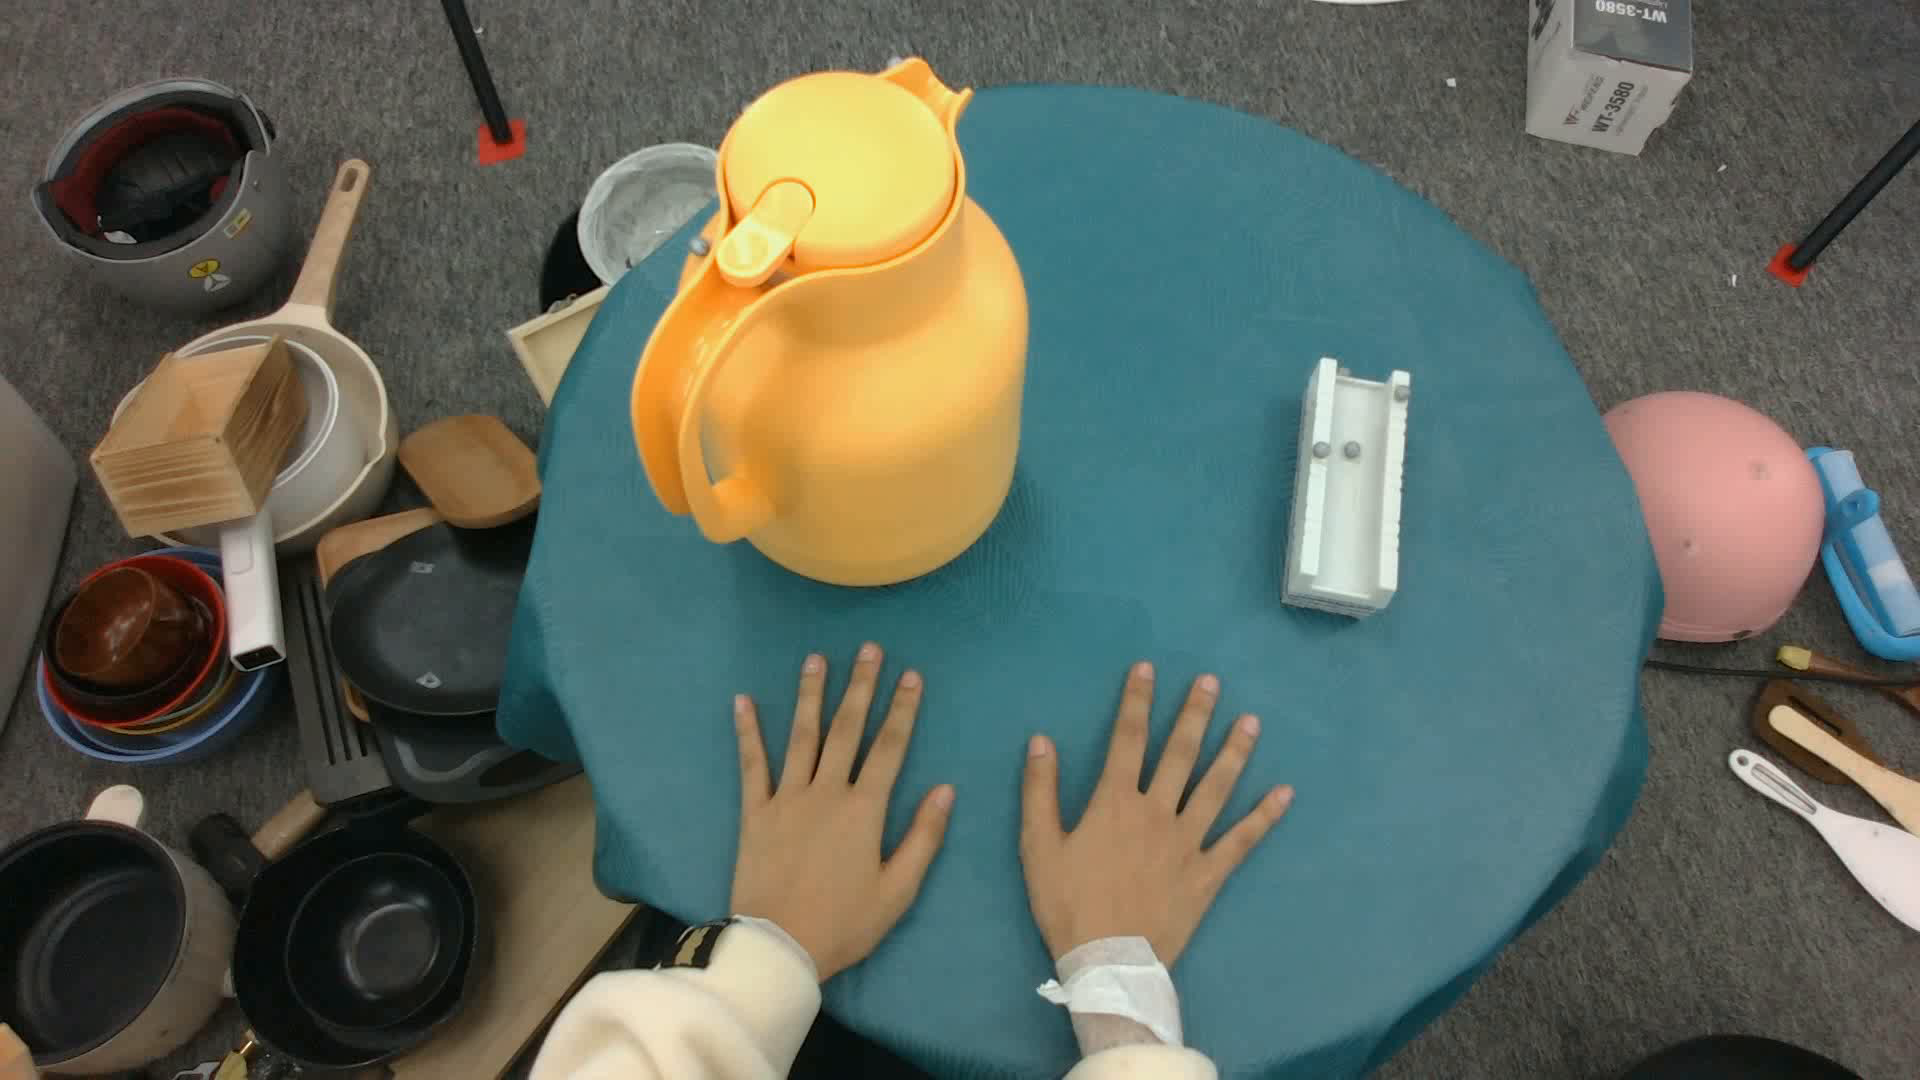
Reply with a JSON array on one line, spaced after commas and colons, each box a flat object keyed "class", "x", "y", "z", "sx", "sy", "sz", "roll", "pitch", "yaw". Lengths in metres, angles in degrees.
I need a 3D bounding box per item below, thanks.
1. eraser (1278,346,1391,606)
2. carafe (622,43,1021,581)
[{"class": "eraser", "x": 0.200, "y": -0.035, "z": 0.739, "sx": 0.050, "sy": 0.046, "sz": 0.135, "roll": 10, "pitch": 63, "yaw": -2}, {"class": "carafe", "x": -0.066, "y": -0.086, "z": 0.629, "sx": 0.163, "sy": 0.259, "sz": 0.203, "roll": 34, "pitch": 66, "yaw": 16}]
